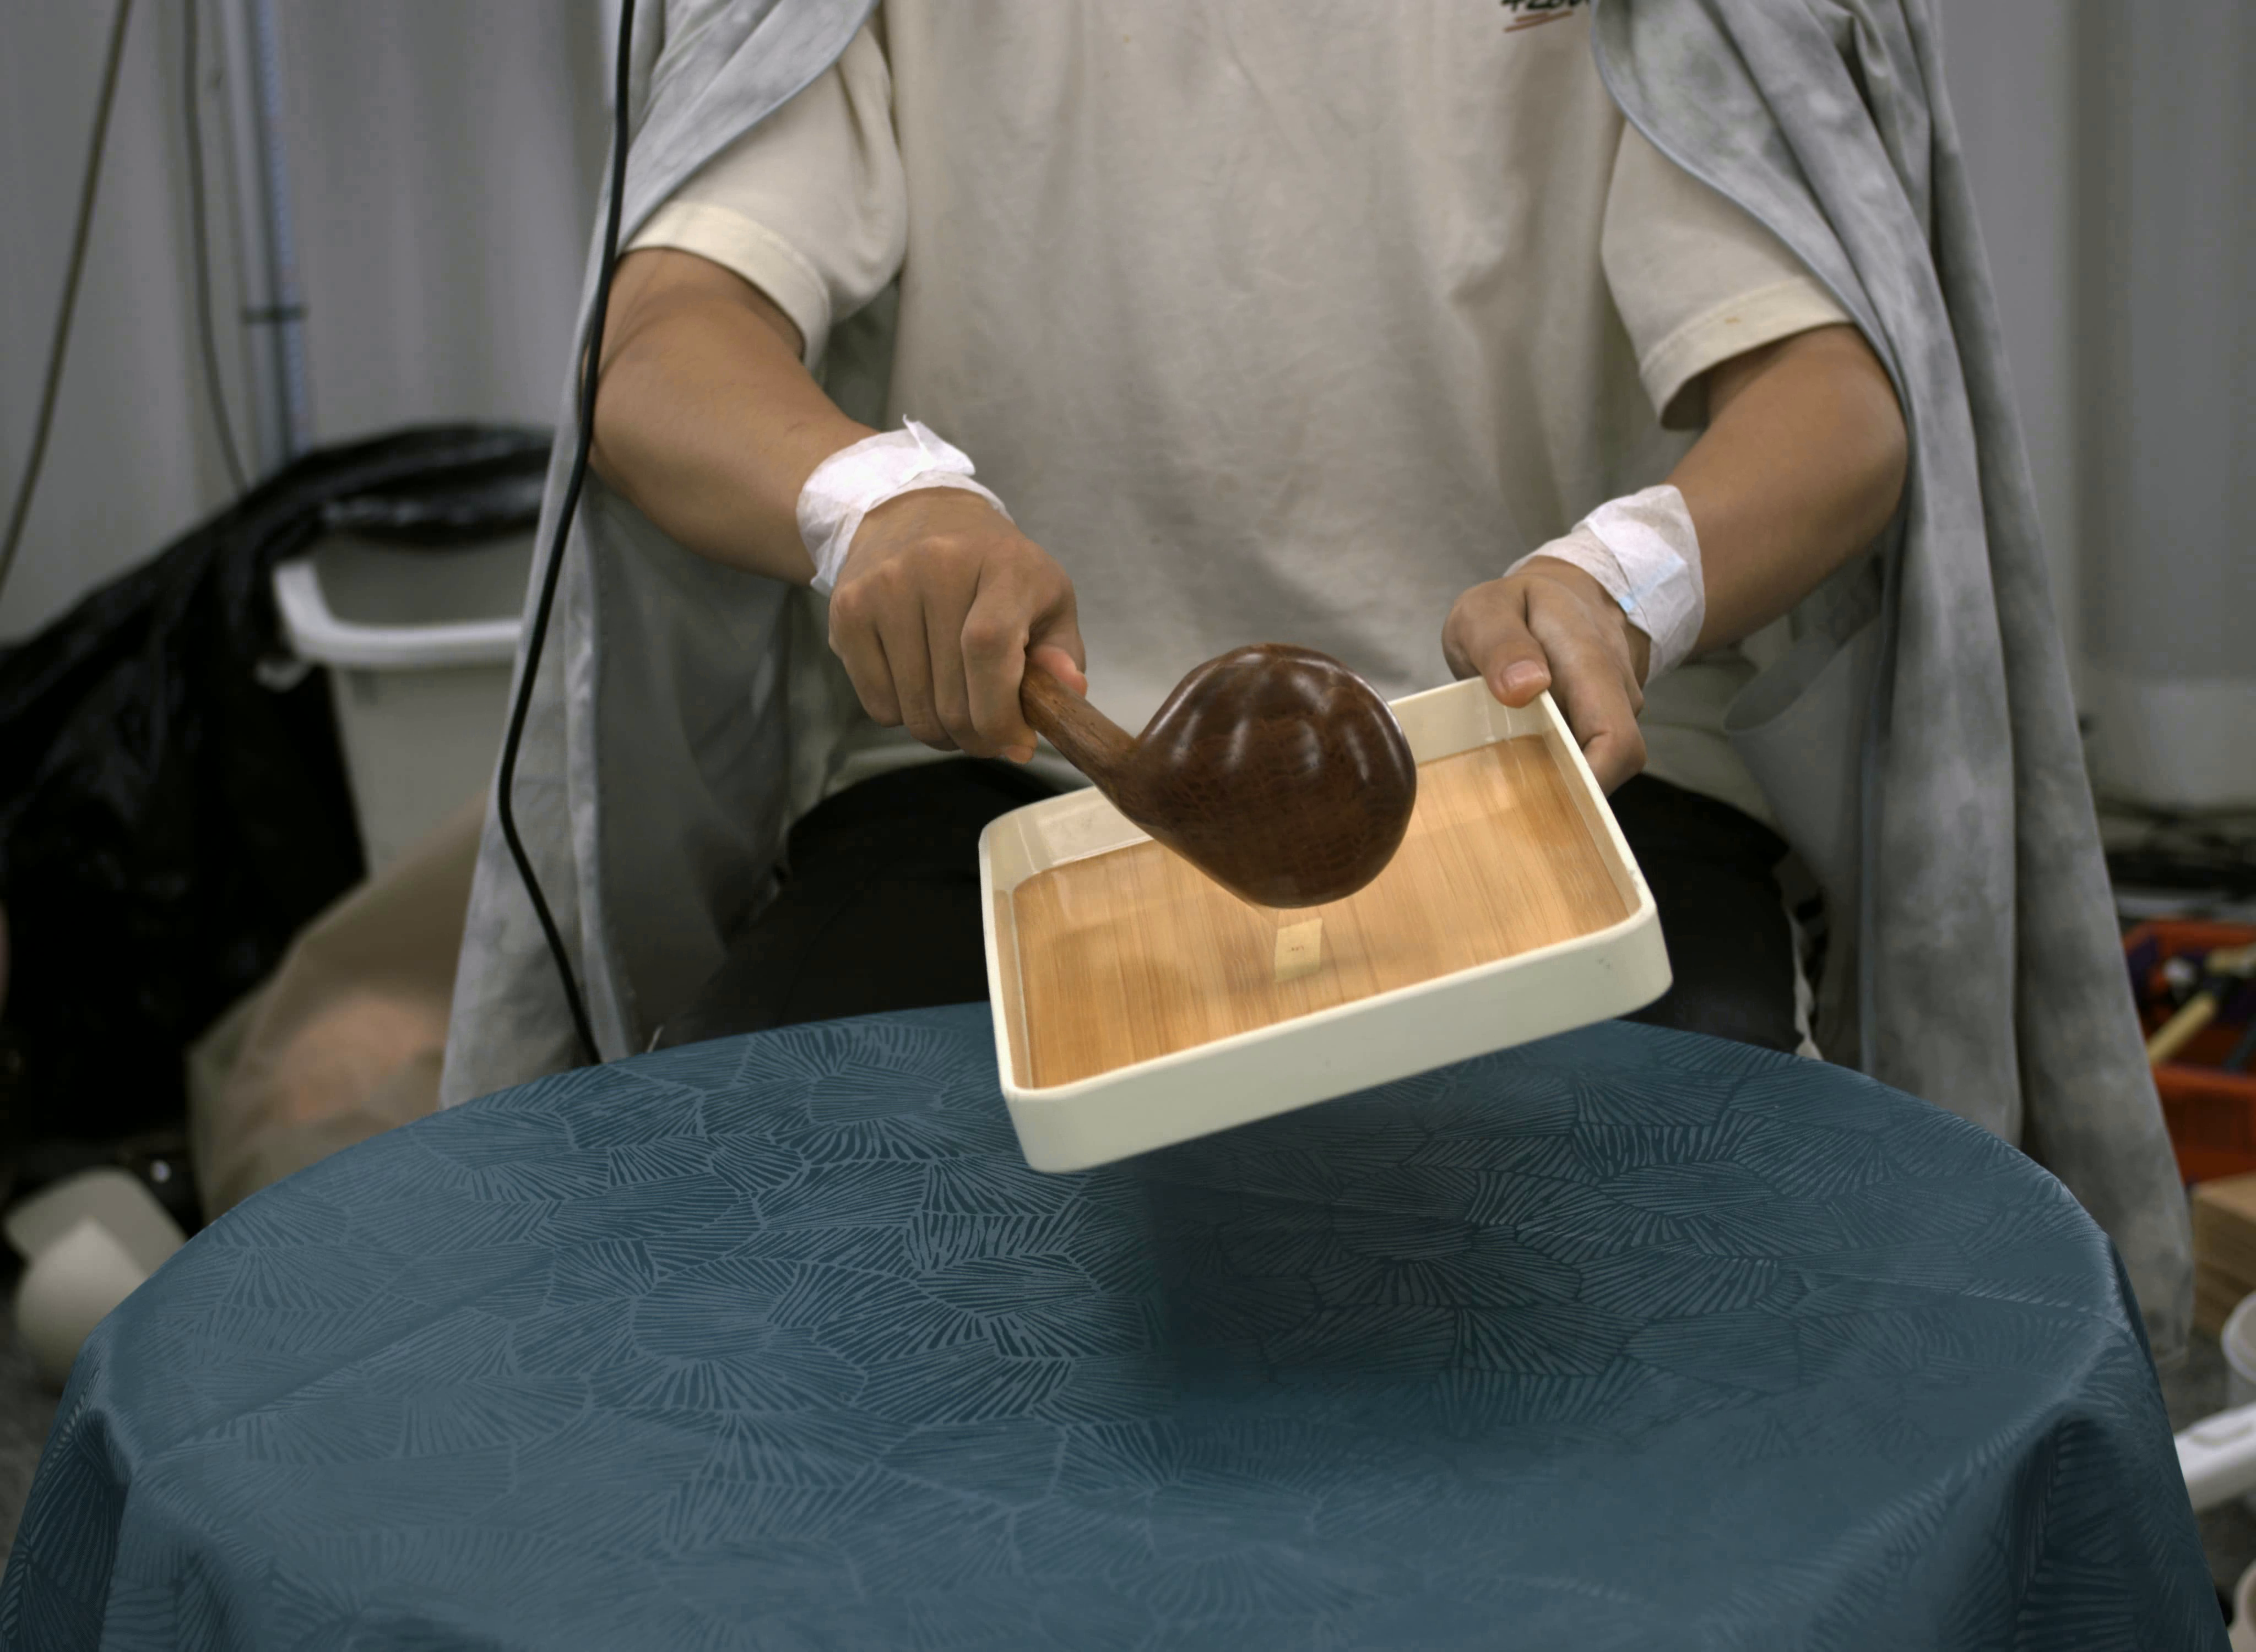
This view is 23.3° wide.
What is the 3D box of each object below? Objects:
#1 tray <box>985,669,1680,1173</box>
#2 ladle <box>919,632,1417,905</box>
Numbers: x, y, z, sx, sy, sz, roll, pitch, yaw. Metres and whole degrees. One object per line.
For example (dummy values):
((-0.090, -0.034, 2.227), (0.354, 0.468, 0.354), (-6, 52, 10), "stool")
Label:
((0.054, 0.024, 1.652), (0.191, 0.027, 0.302), (-16, 16, 2), "tray")
((0.009, -0.036, 1.705), (0.076, 0.081, 0.276), (-10, 14, -17), "ladle")
